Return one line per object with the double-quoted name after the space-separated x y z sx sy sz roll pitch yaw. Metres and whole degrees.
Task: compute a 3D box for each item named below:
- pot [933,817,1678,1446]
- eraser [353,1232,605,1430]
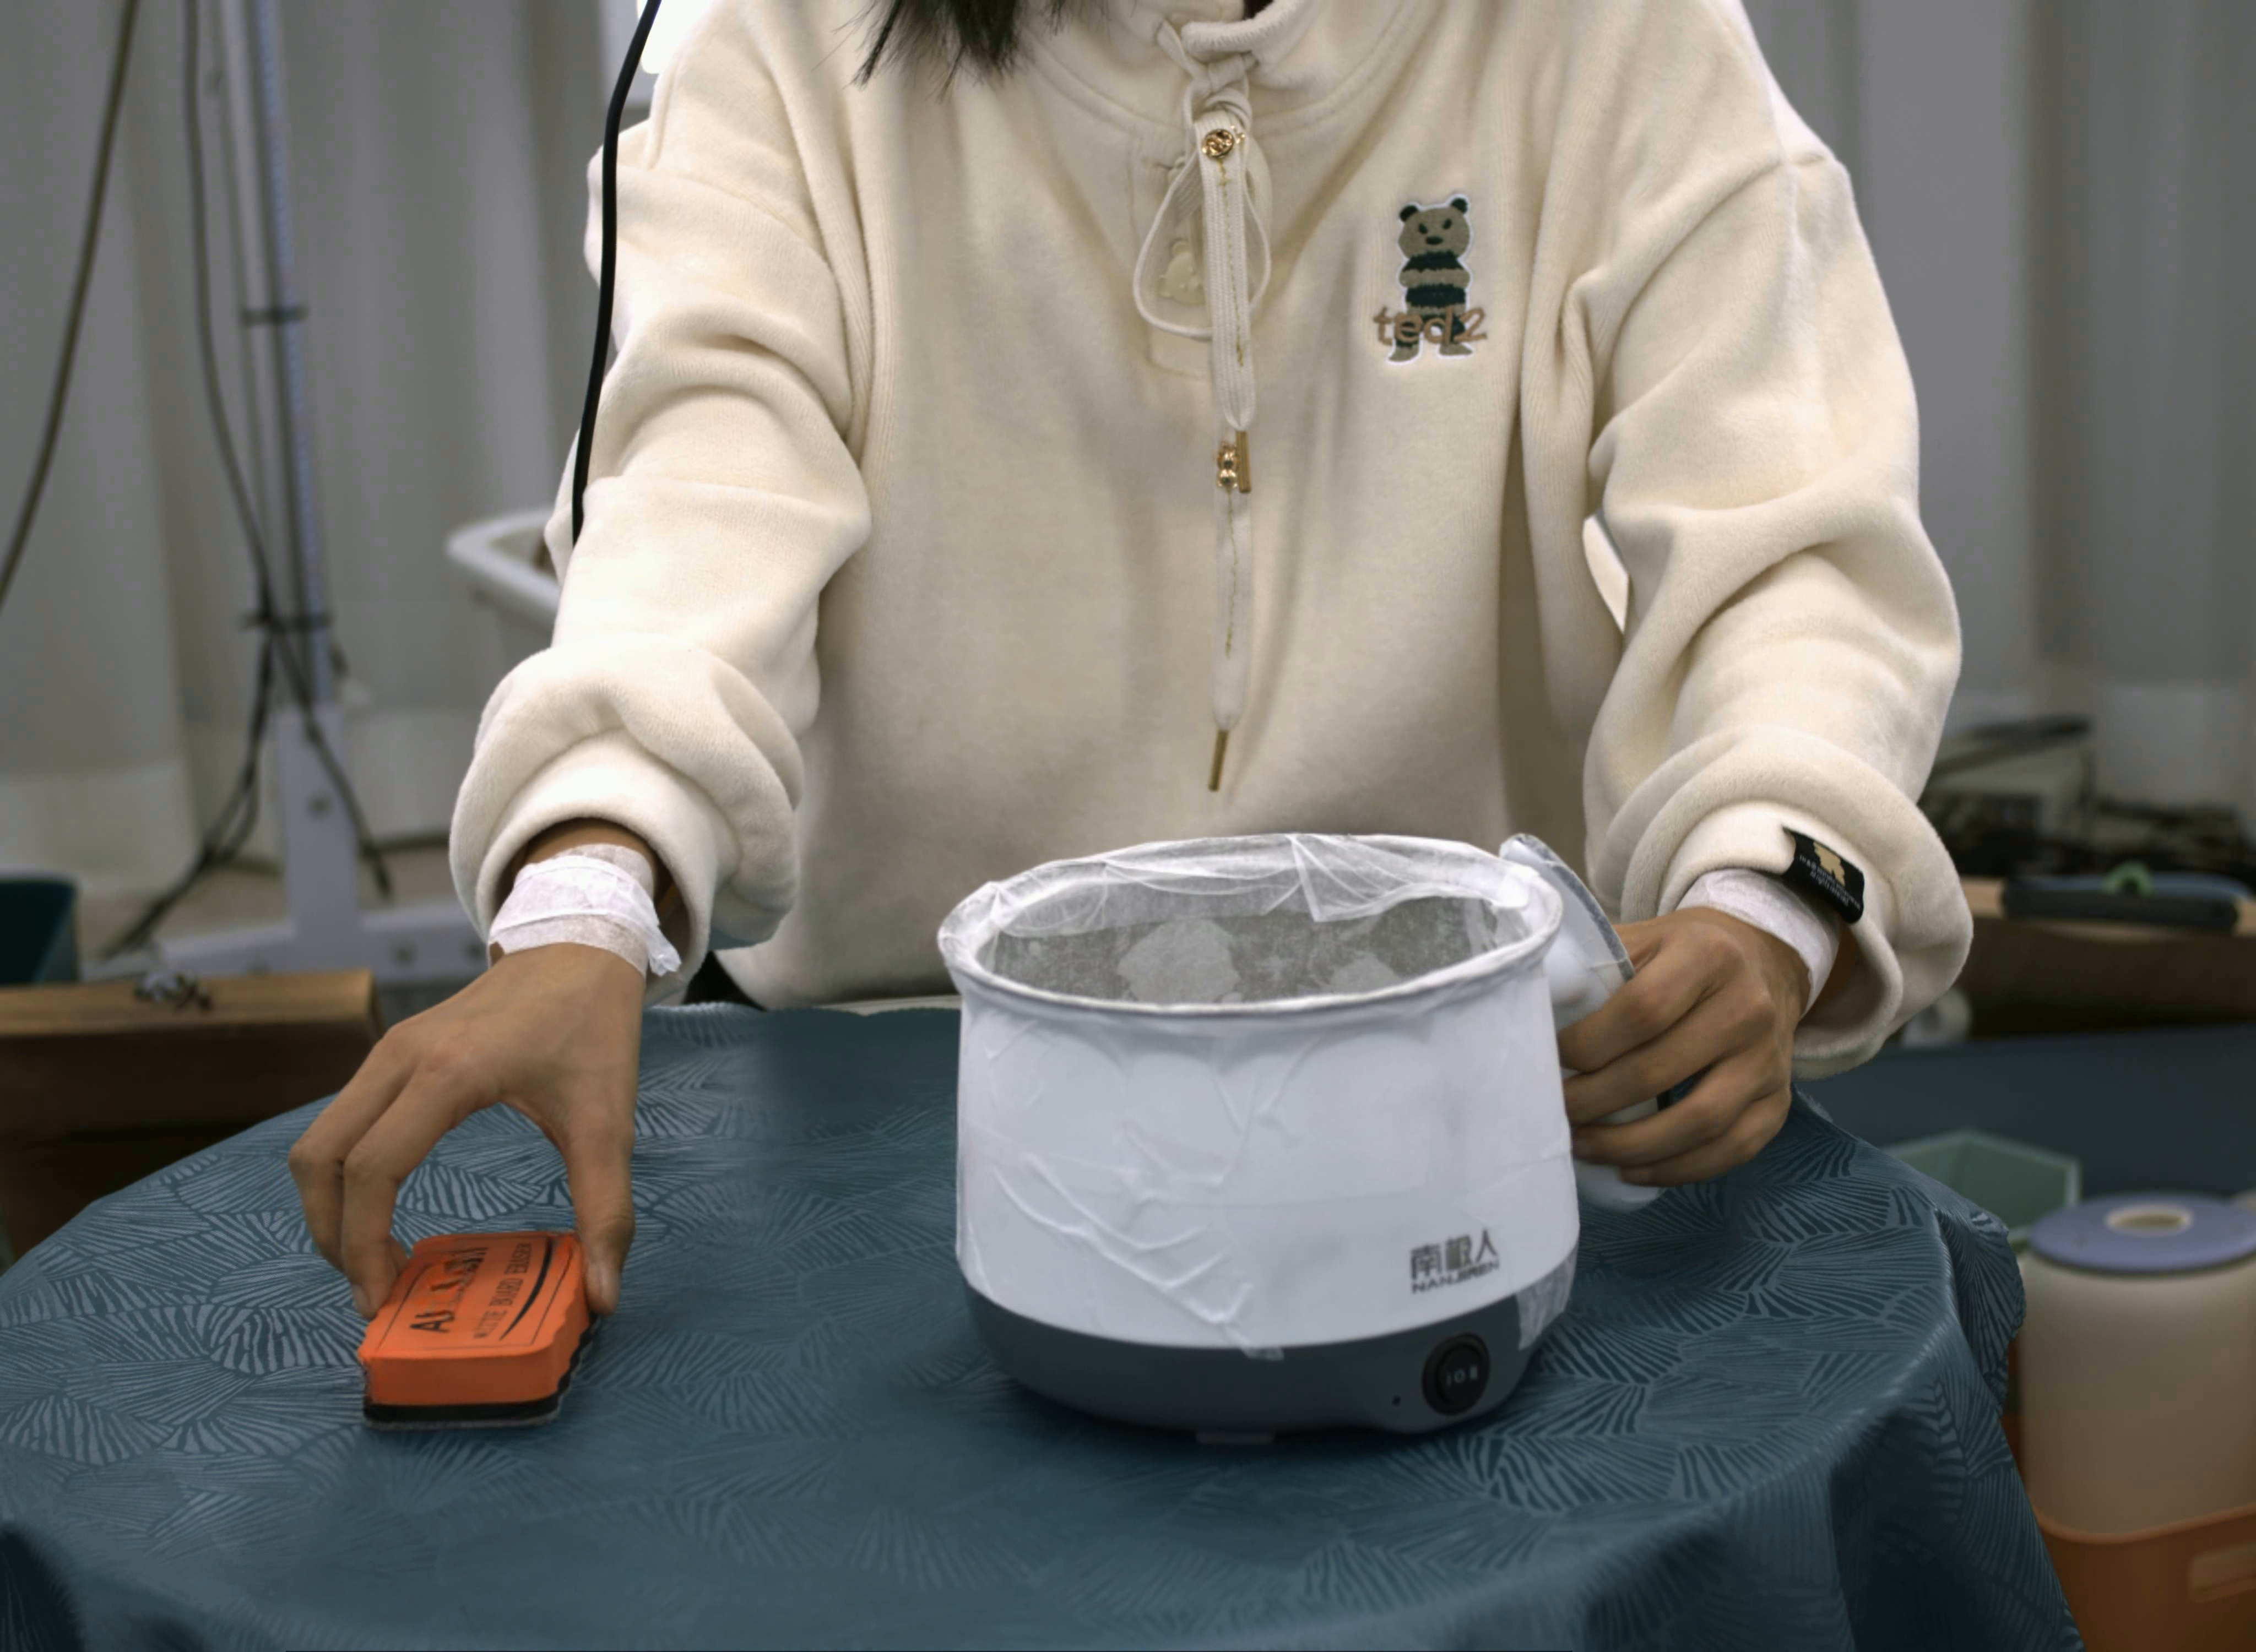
0.059 0.079 1.563 0.233 0.136 0.180 -15 20 -34 "pot"
-0.187 0.146 1.588 0.059 0.023 0.108 4 14 3 "eraser"
